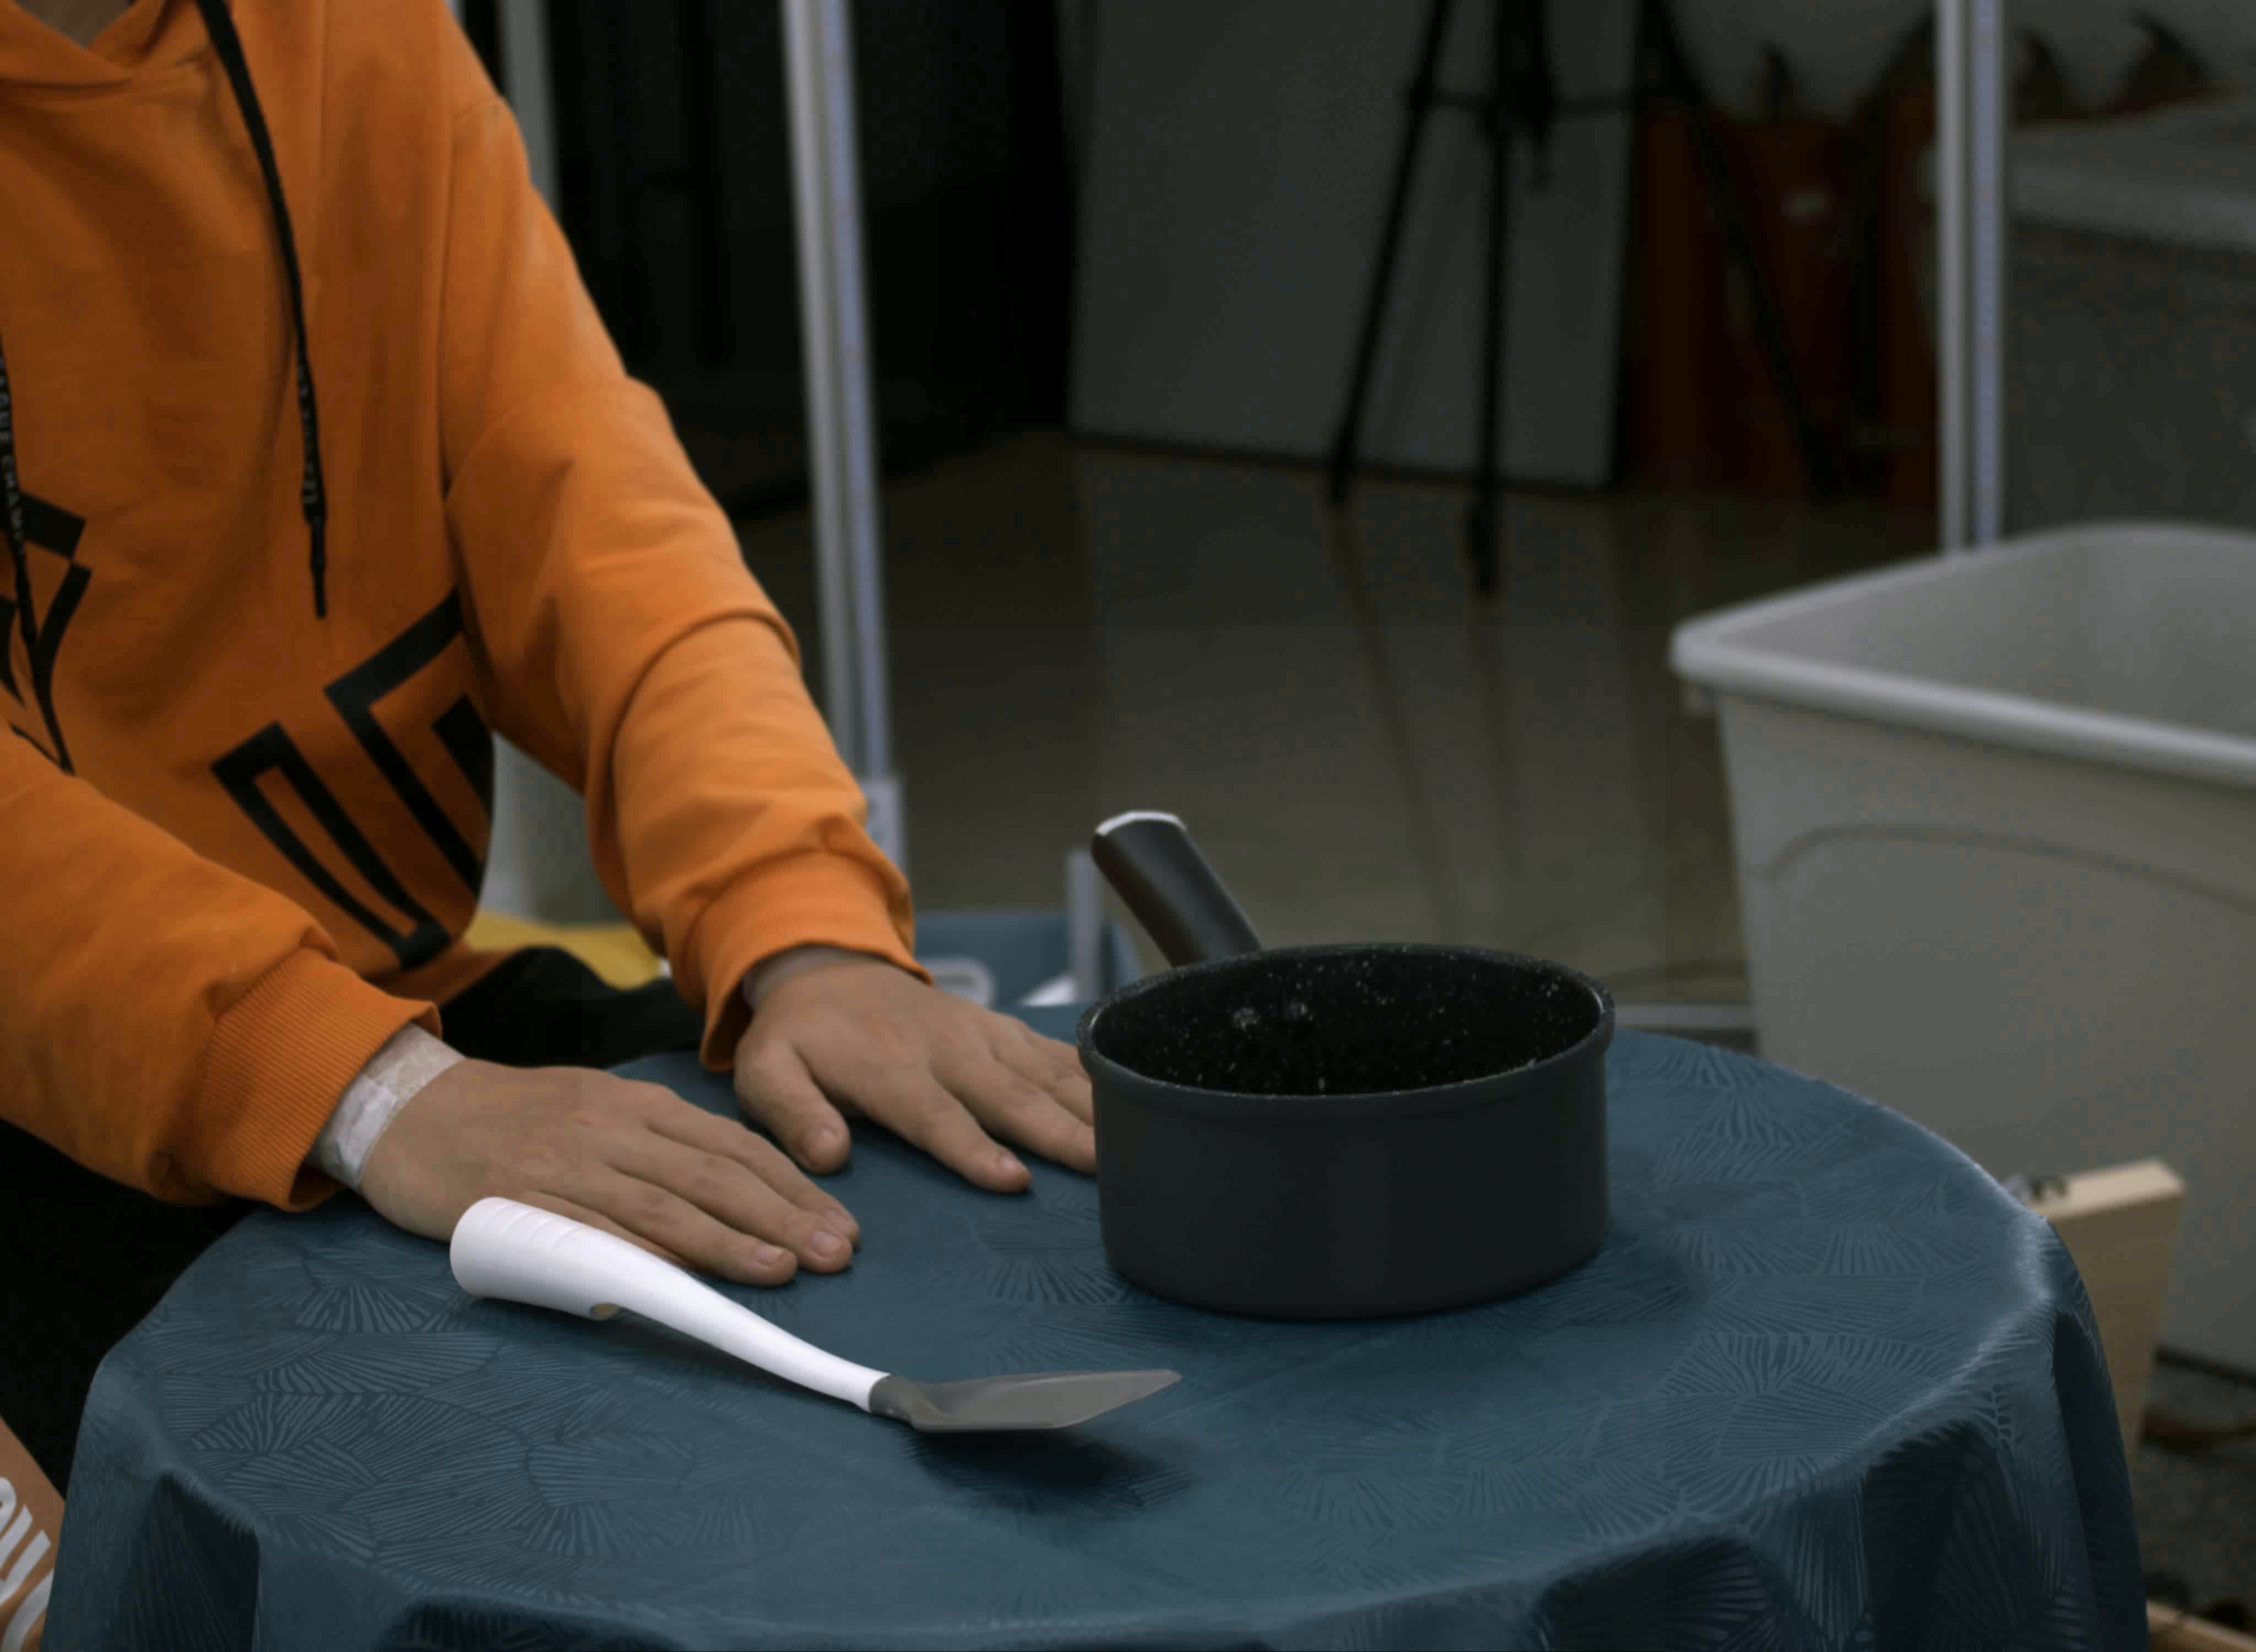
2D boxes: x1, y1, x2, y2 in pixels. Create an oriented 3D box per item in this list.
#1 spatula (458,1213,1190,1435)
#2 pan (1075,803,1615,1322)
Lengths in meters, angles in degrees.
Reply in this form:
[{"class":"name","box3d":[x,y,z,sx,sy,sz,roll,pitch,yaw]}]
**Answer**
[{"class":"spatula","box3d":[-0.097,0.153,1.605,0.057,0.032,0.290,-11,14,-44]},{"class":"pan","box3d":[0.052,0.074,1.771,0.169,0.087,0.331,-6,15,-12]}]
